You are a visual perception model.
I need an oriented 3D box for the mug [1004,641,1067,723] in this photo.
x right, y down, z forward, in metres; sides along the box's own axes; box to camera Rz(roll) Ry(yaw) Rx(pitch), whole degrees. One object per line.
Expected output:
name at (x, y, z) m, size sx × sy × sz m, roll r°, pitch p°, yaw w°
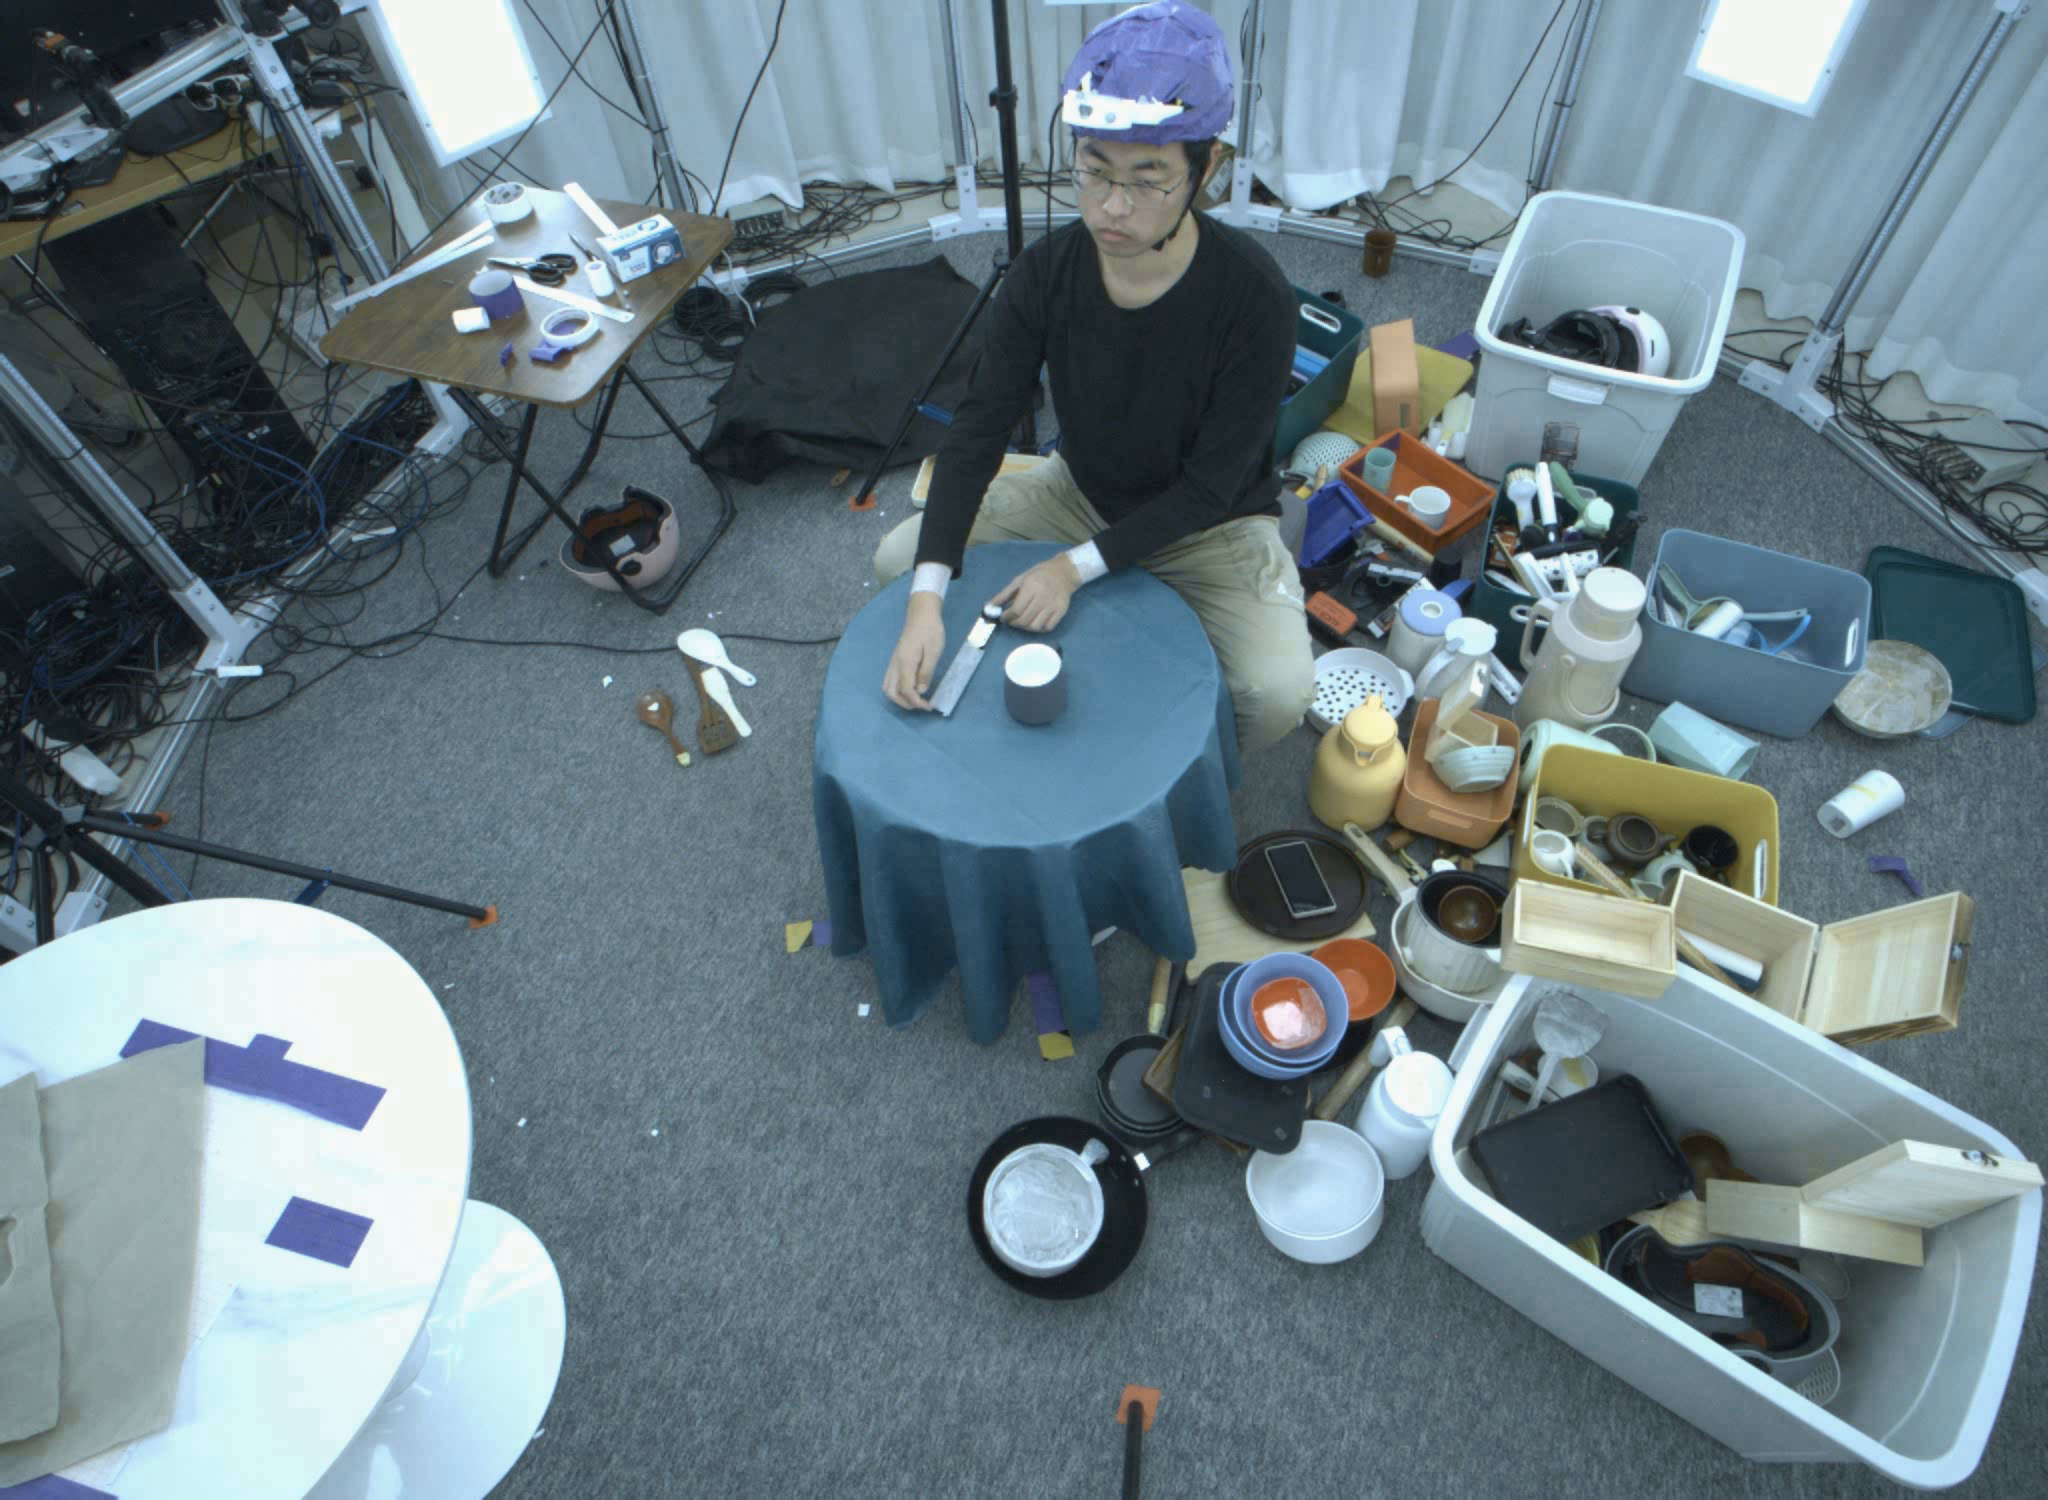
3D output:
mug at (0.023, -0.108, 1.806) m, size 0.092 × 0.091 × 0.123 m, roll 24°, pitch 60°, yaw 18°

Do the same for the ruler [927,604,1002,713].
ruler at (-0.087, -0.145, 1.869) m, size 0.038 × 0.024 × 0.218 m, roll 21°, pitch 54°, yaw 9°
